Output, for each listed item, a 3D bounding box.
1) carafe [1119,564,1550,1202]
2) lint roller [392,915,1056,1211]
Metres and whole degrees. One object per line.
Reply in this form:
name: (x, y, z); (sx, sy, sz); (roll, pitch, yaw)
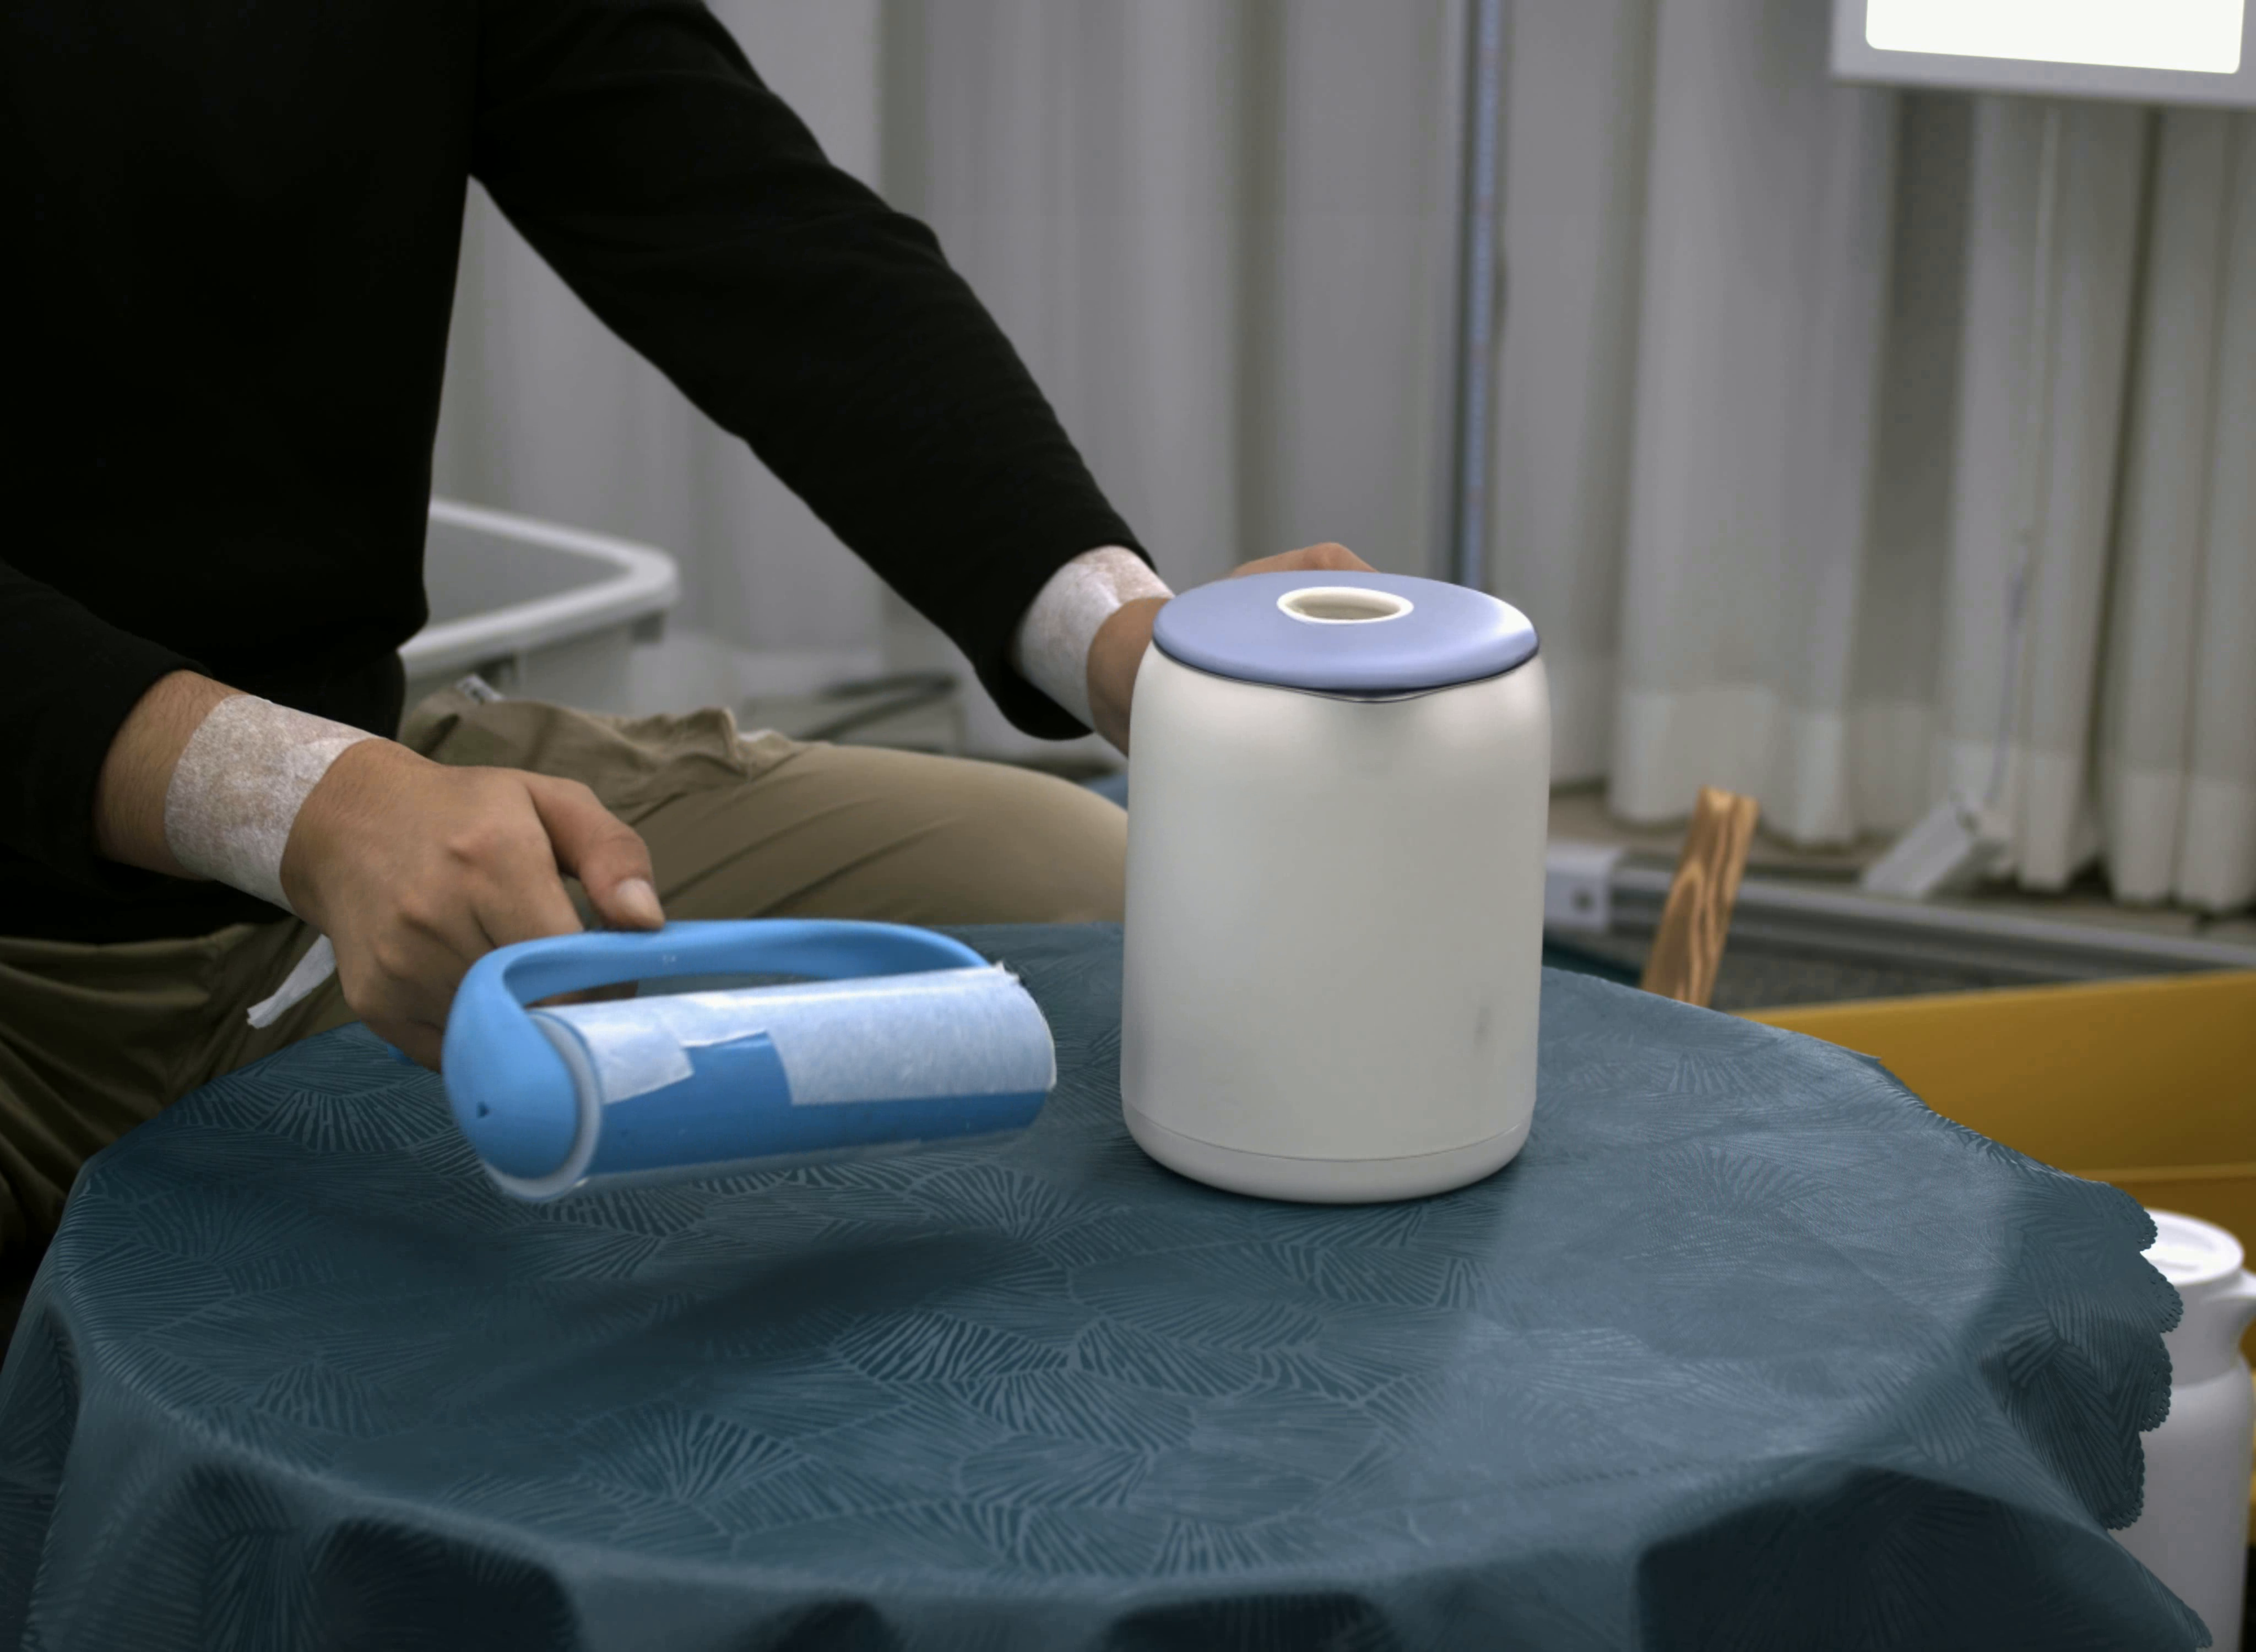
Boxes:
carafe: (0.061, 0.010, 1.660); (0.132, 0.184, 0.189); (0, 16, -7)
lint roller: (-0.148, 0.058, 1.538); (0.178, 0.068, 0.230); (16, 14, 34)
